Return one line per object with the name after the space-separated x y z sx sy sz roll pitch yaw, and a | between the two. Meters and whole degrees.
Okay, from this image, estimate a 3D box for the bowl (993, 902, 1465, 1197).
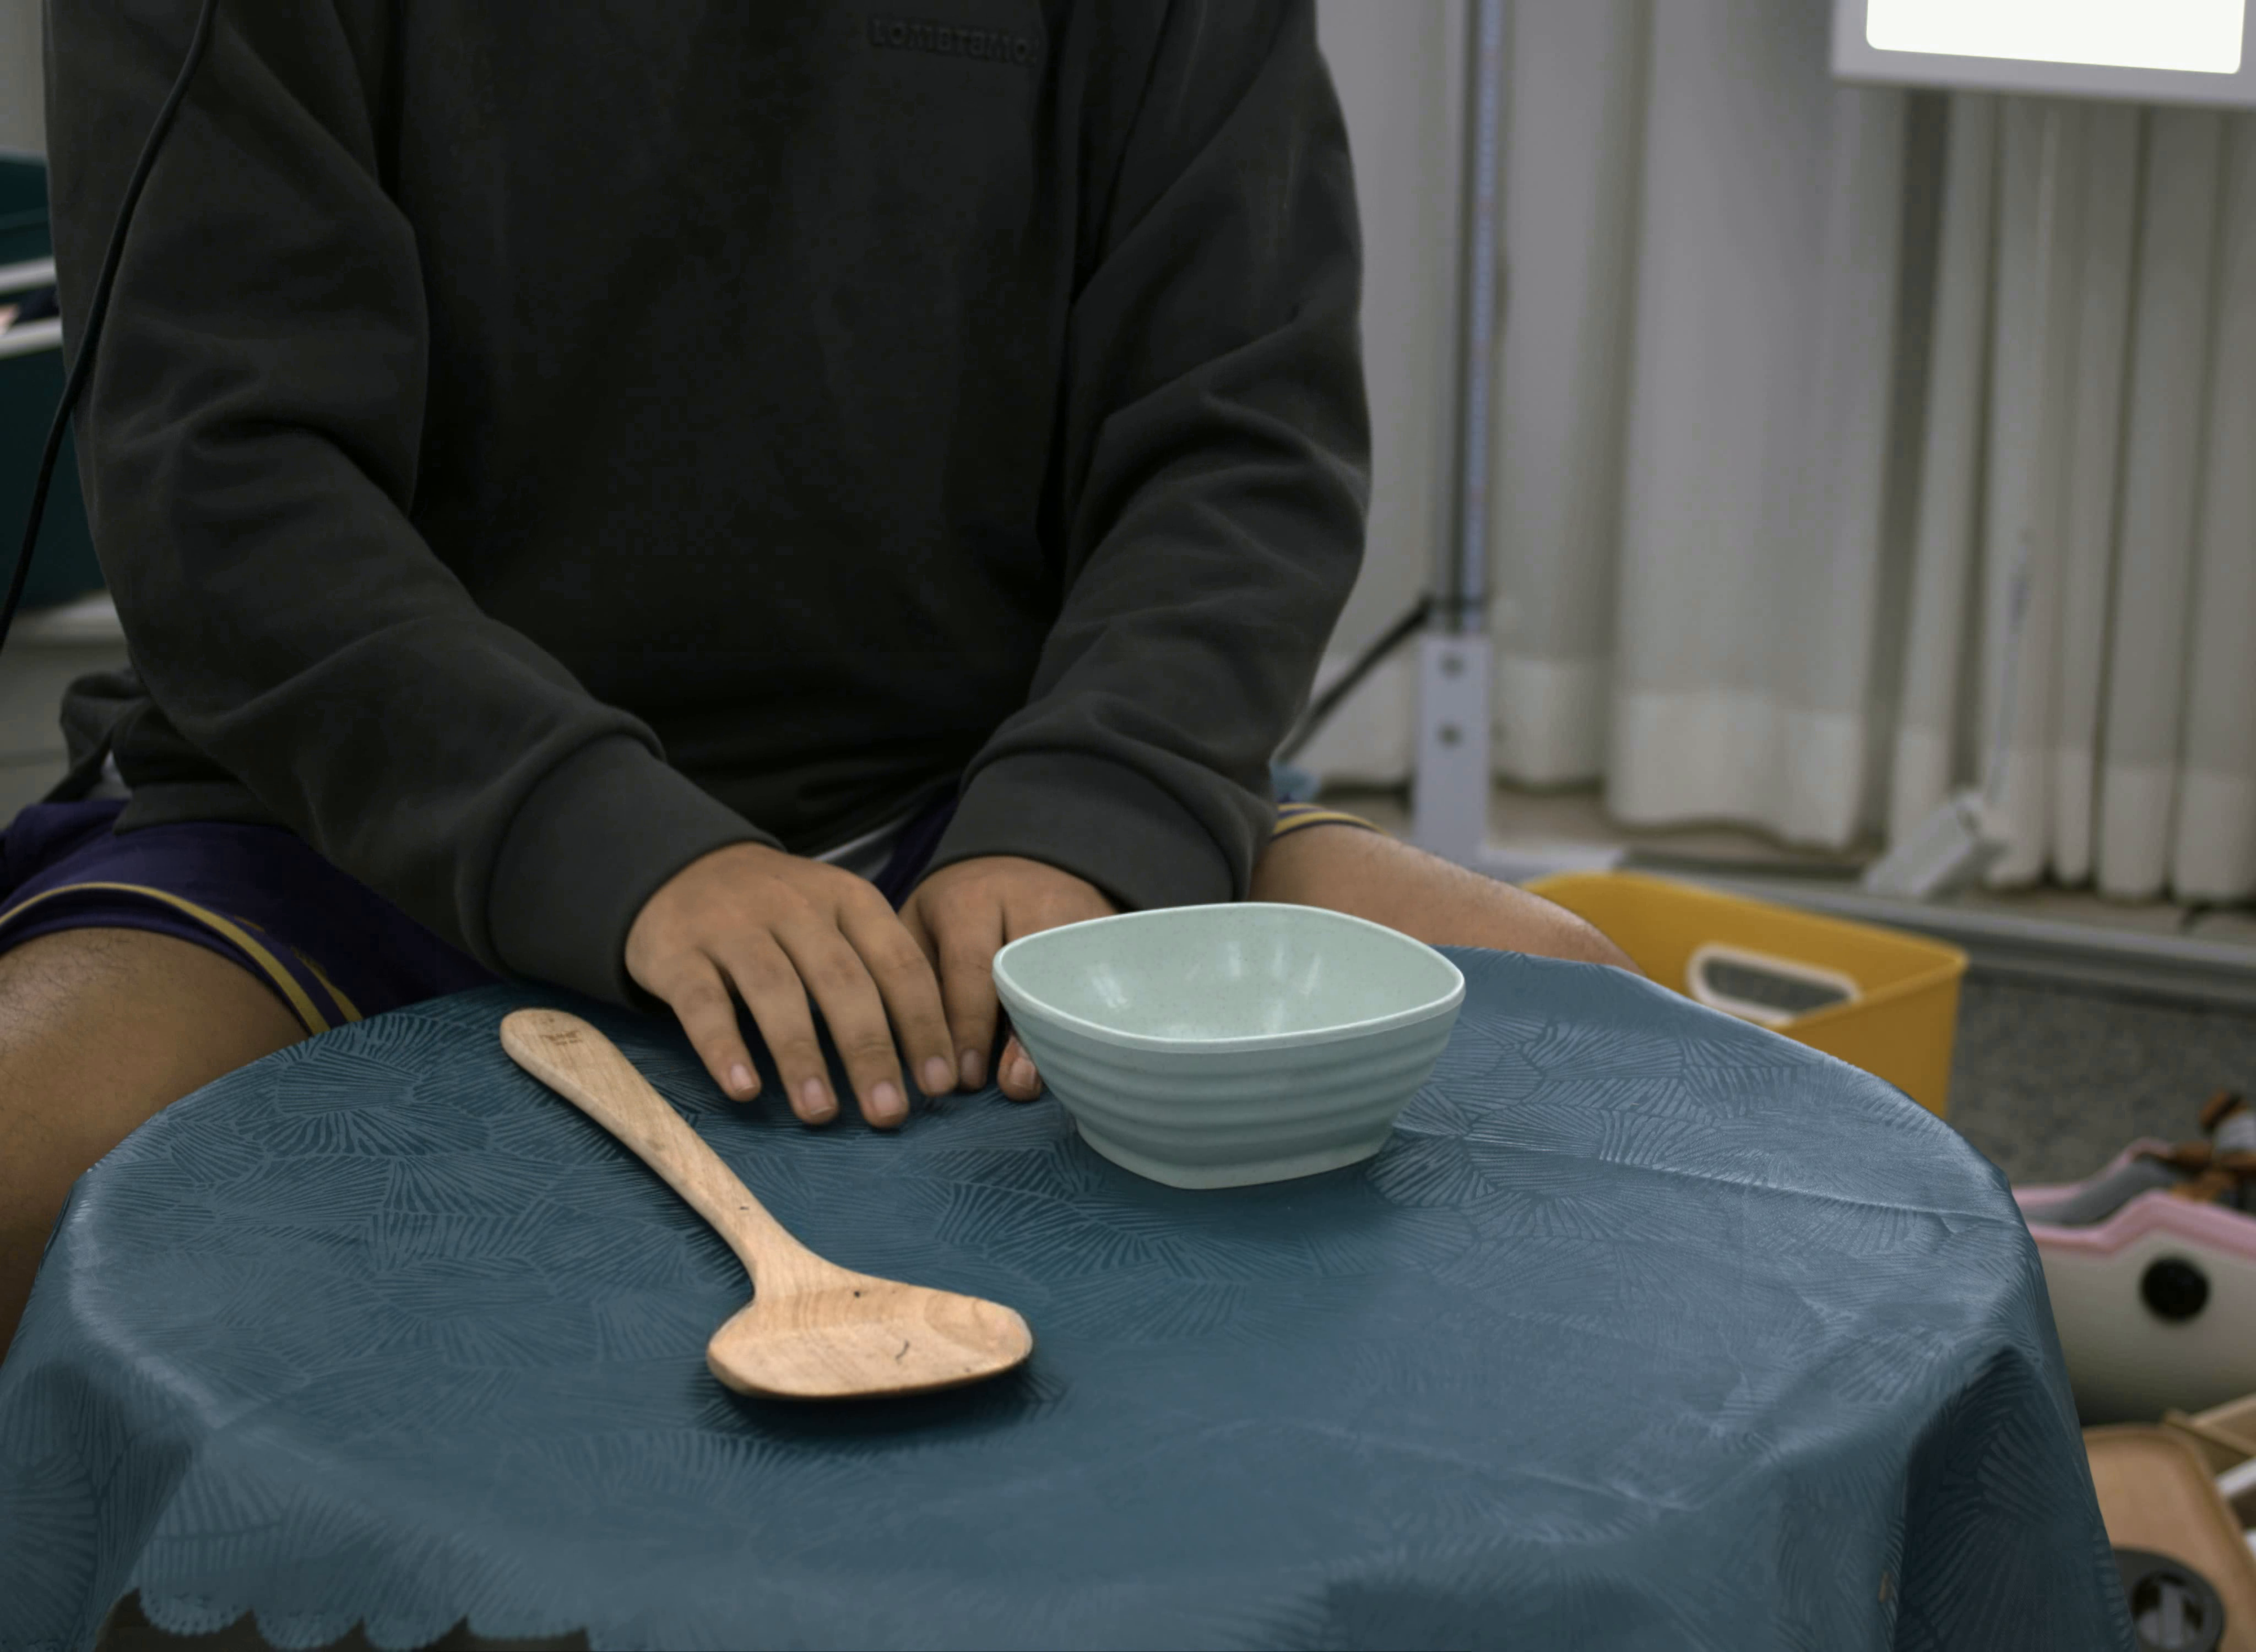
0.031 0.073 1.662 0.151 0.059 0.150 2 17 0 | bowl

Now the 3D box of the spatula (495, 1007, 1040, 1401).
-0.134 0.109 1.595 0.096 0.018 0.386 -4 16 -23 | spatula
